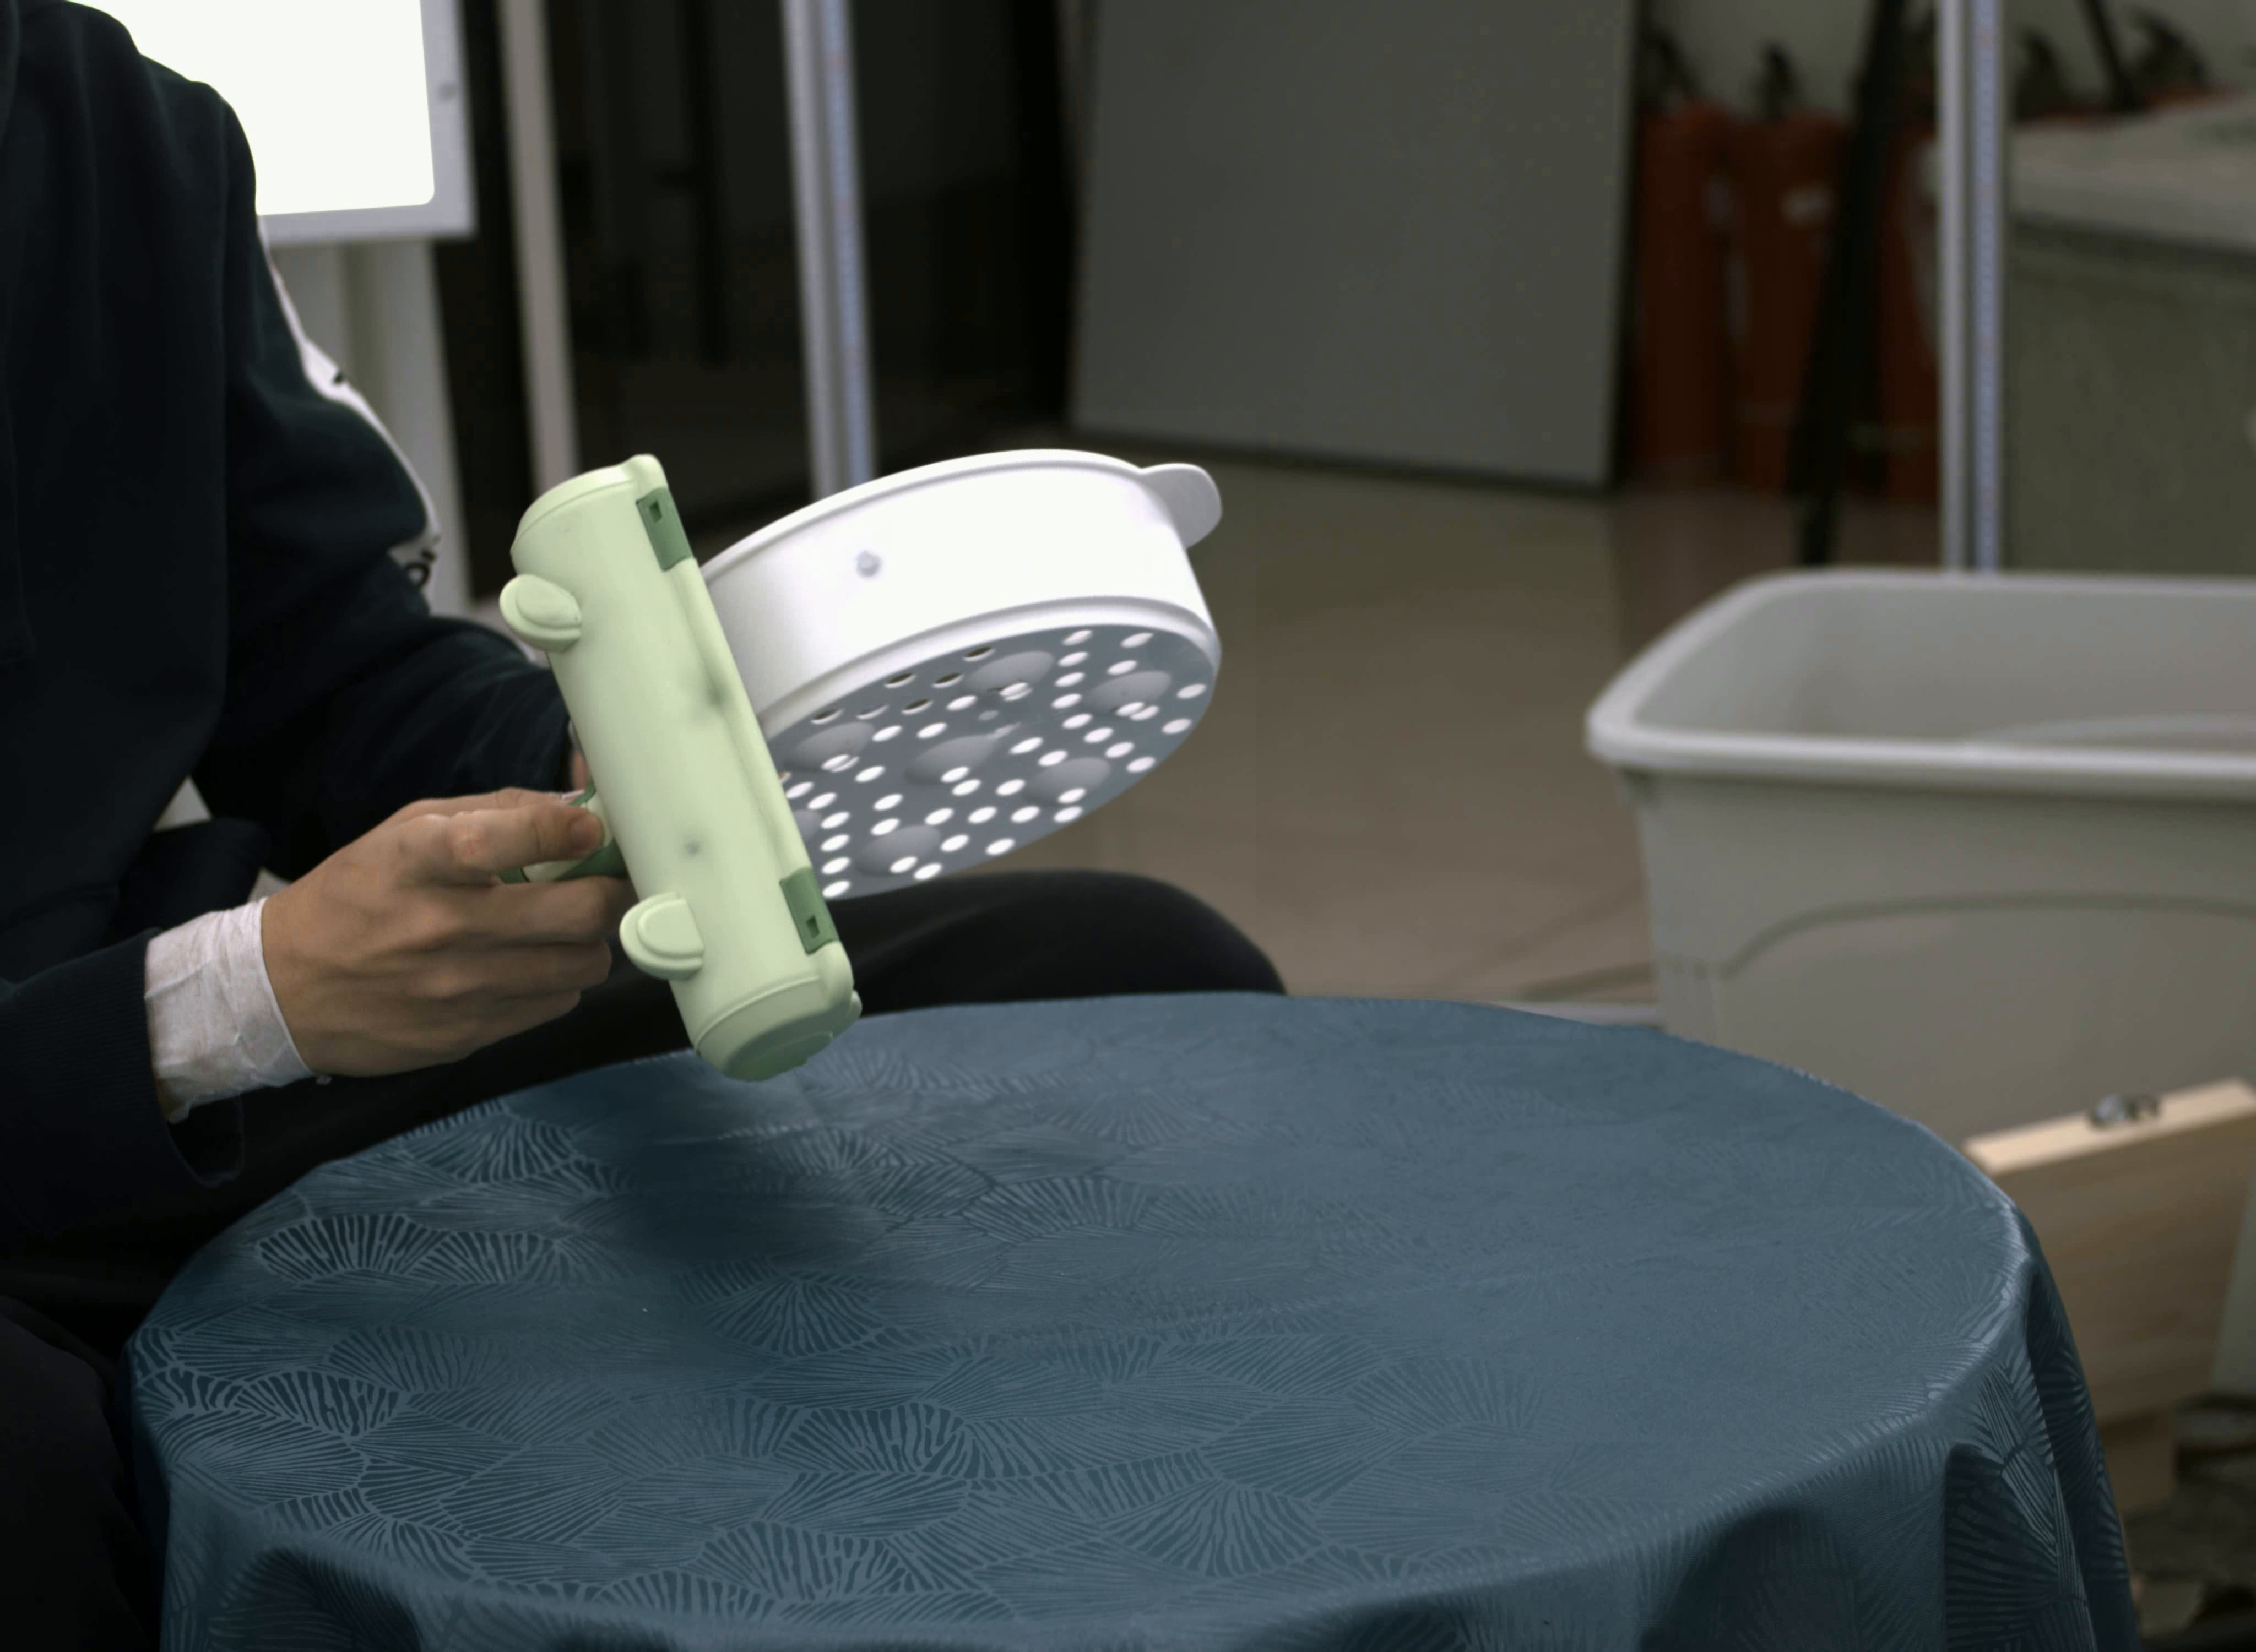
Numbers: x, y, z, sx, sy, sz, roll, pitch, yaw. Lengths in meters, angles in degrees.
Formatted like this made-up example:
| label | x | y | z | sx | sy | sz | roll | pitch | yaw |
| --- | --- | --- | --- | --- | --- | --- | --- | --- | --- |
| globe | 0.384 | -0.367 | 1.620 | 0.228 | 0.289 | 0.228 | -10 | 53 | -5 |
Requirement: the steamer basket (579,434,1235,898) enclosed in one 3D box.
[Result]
| label | x | y | z | sx | sy | sz | roll | pitch | yaw |
| --- | --- | --- | --- | --- | --- | --- | --- | --- | --- |
| steamer basket | -0.063 | -0.047 | 1.771 | 0.229 | 0.070 | 0.201 | -21 | -22 | 3 |

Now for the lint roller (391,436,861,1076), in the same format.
| label | x | y | z | sx | sy | sz | roll | pitch | yaw |
| --- | --- | --- | --- | --- | --- | --- | --- | --- | --- |
| lint roller | -0.182 | 0.006 | 1.689 | 0.184 | 0.201 | 0.080 | -33 | -23 | 27 |
